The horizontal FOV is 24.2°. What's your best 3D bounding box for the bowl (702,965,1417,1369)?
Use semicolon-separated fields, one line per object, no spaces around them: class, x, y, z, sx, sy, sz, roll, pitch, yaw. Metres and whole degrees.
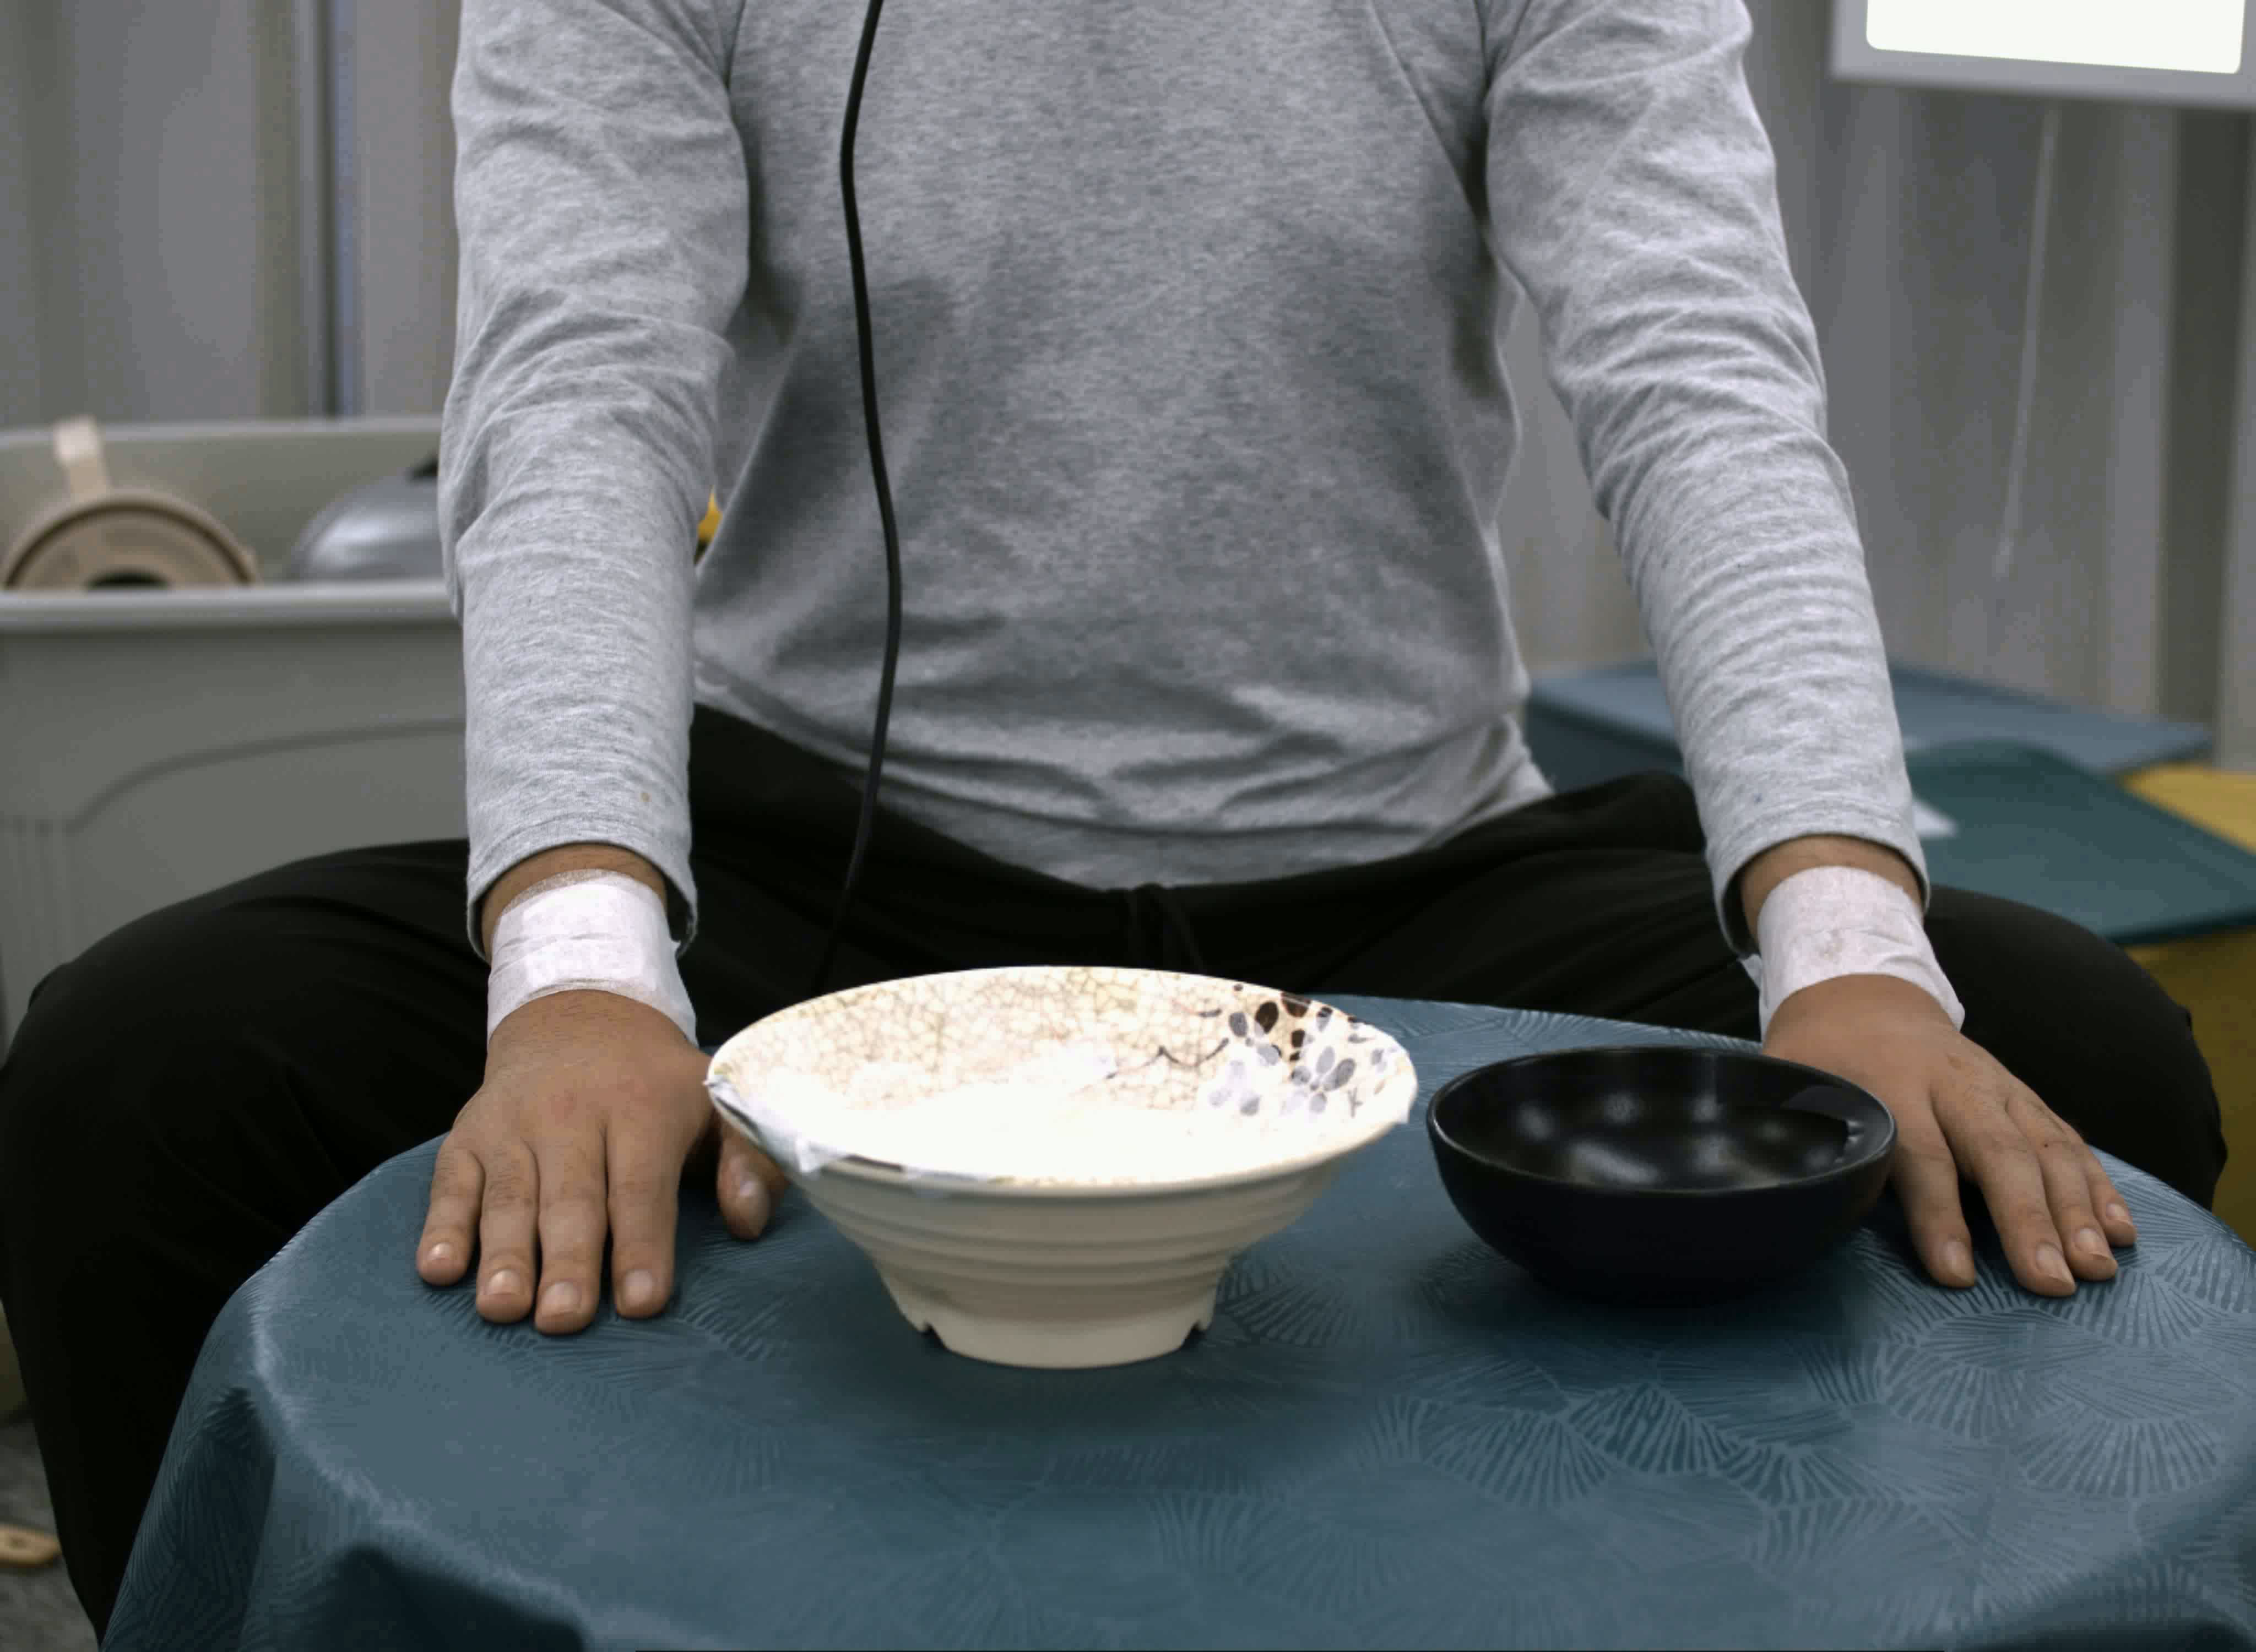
bowl;-0.020;0.104;1.506;0.203;0.078;0.203;1;15;0

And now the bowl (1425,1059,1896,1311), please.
bowl;0.156;0.109;1.555;0.139;0.050;0.139;2;12;0
